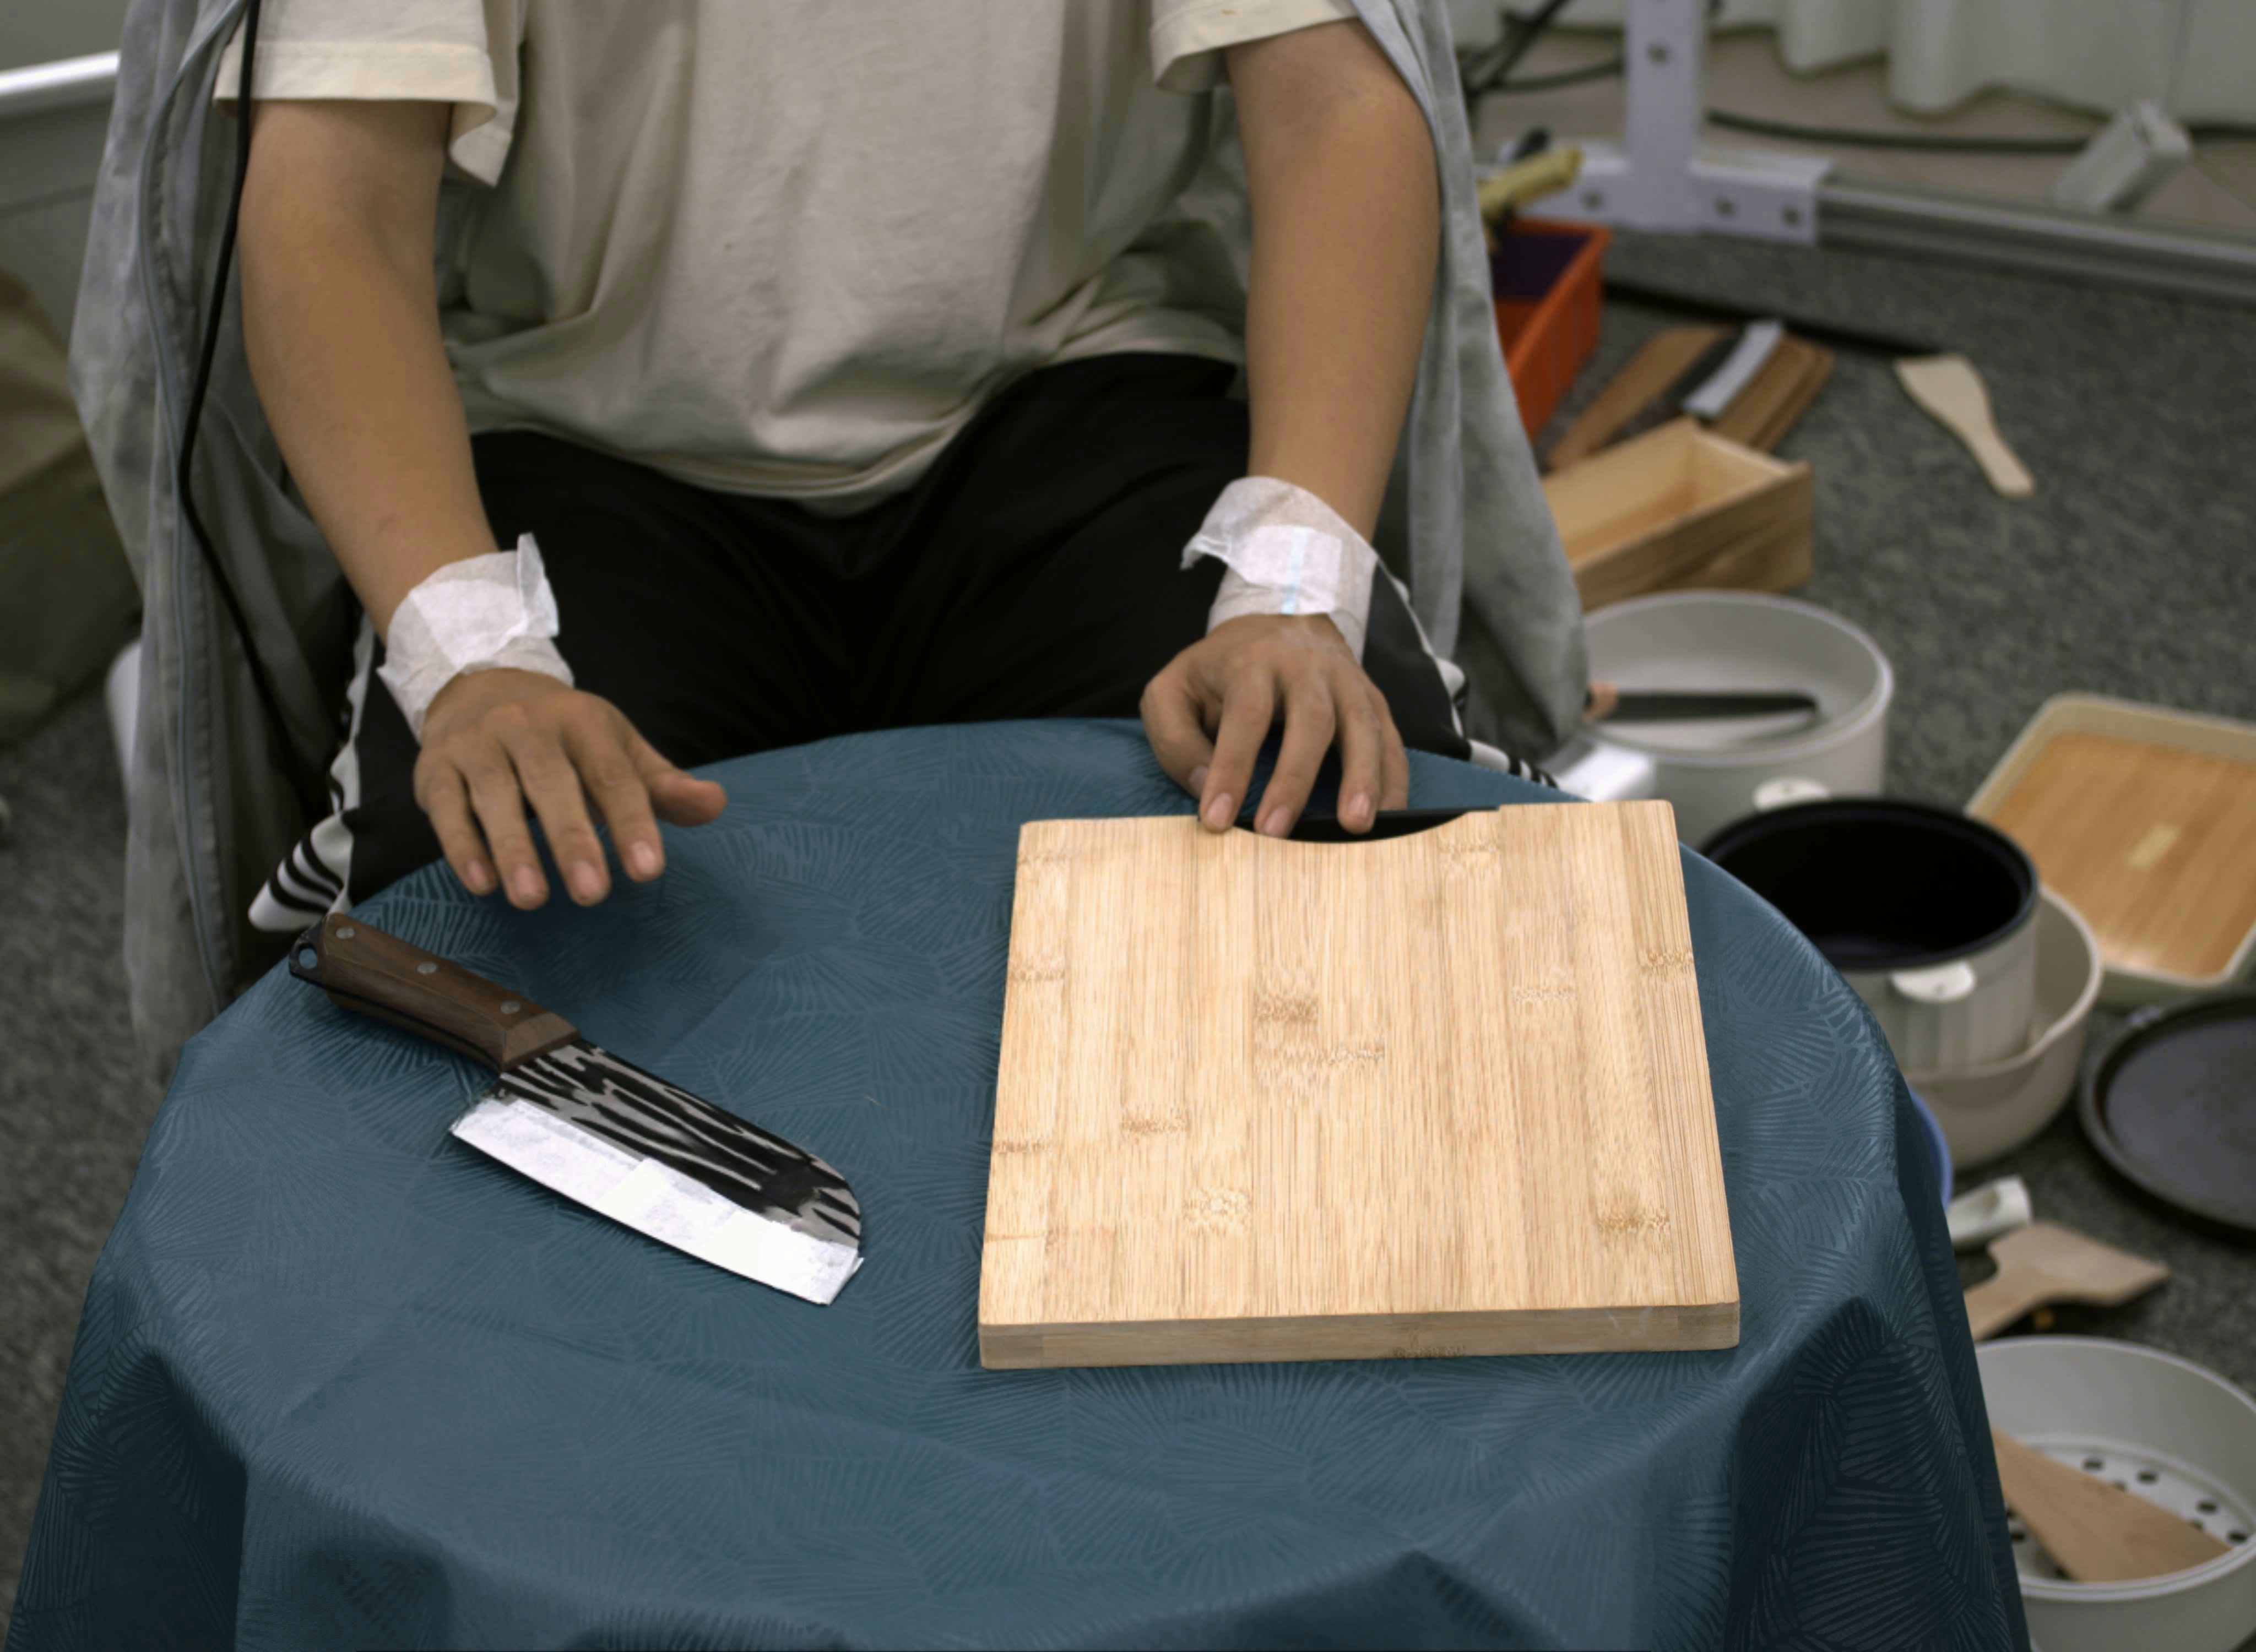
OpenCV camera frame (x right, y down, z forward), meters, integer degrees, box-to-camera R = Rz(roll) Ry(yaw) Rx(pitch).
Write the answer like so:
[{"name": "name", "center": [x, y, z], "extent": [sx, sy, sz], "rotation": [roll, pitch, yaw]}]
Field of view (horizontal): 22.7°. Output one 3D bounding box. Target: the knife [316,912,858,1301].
[{"name": "knife", "center": [-0.192, 0.096, 1.908], "extent": [0.299, 0.023, 0.069], "rotation": [24, 39, 37]}]

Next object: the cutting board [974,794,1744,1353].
[{"name": "cutting board", "center": [0.077, 0.080, 1.916], "extent": [0.249, 0.023, 0.354], "rotation": [-2, 27, 1]}]
